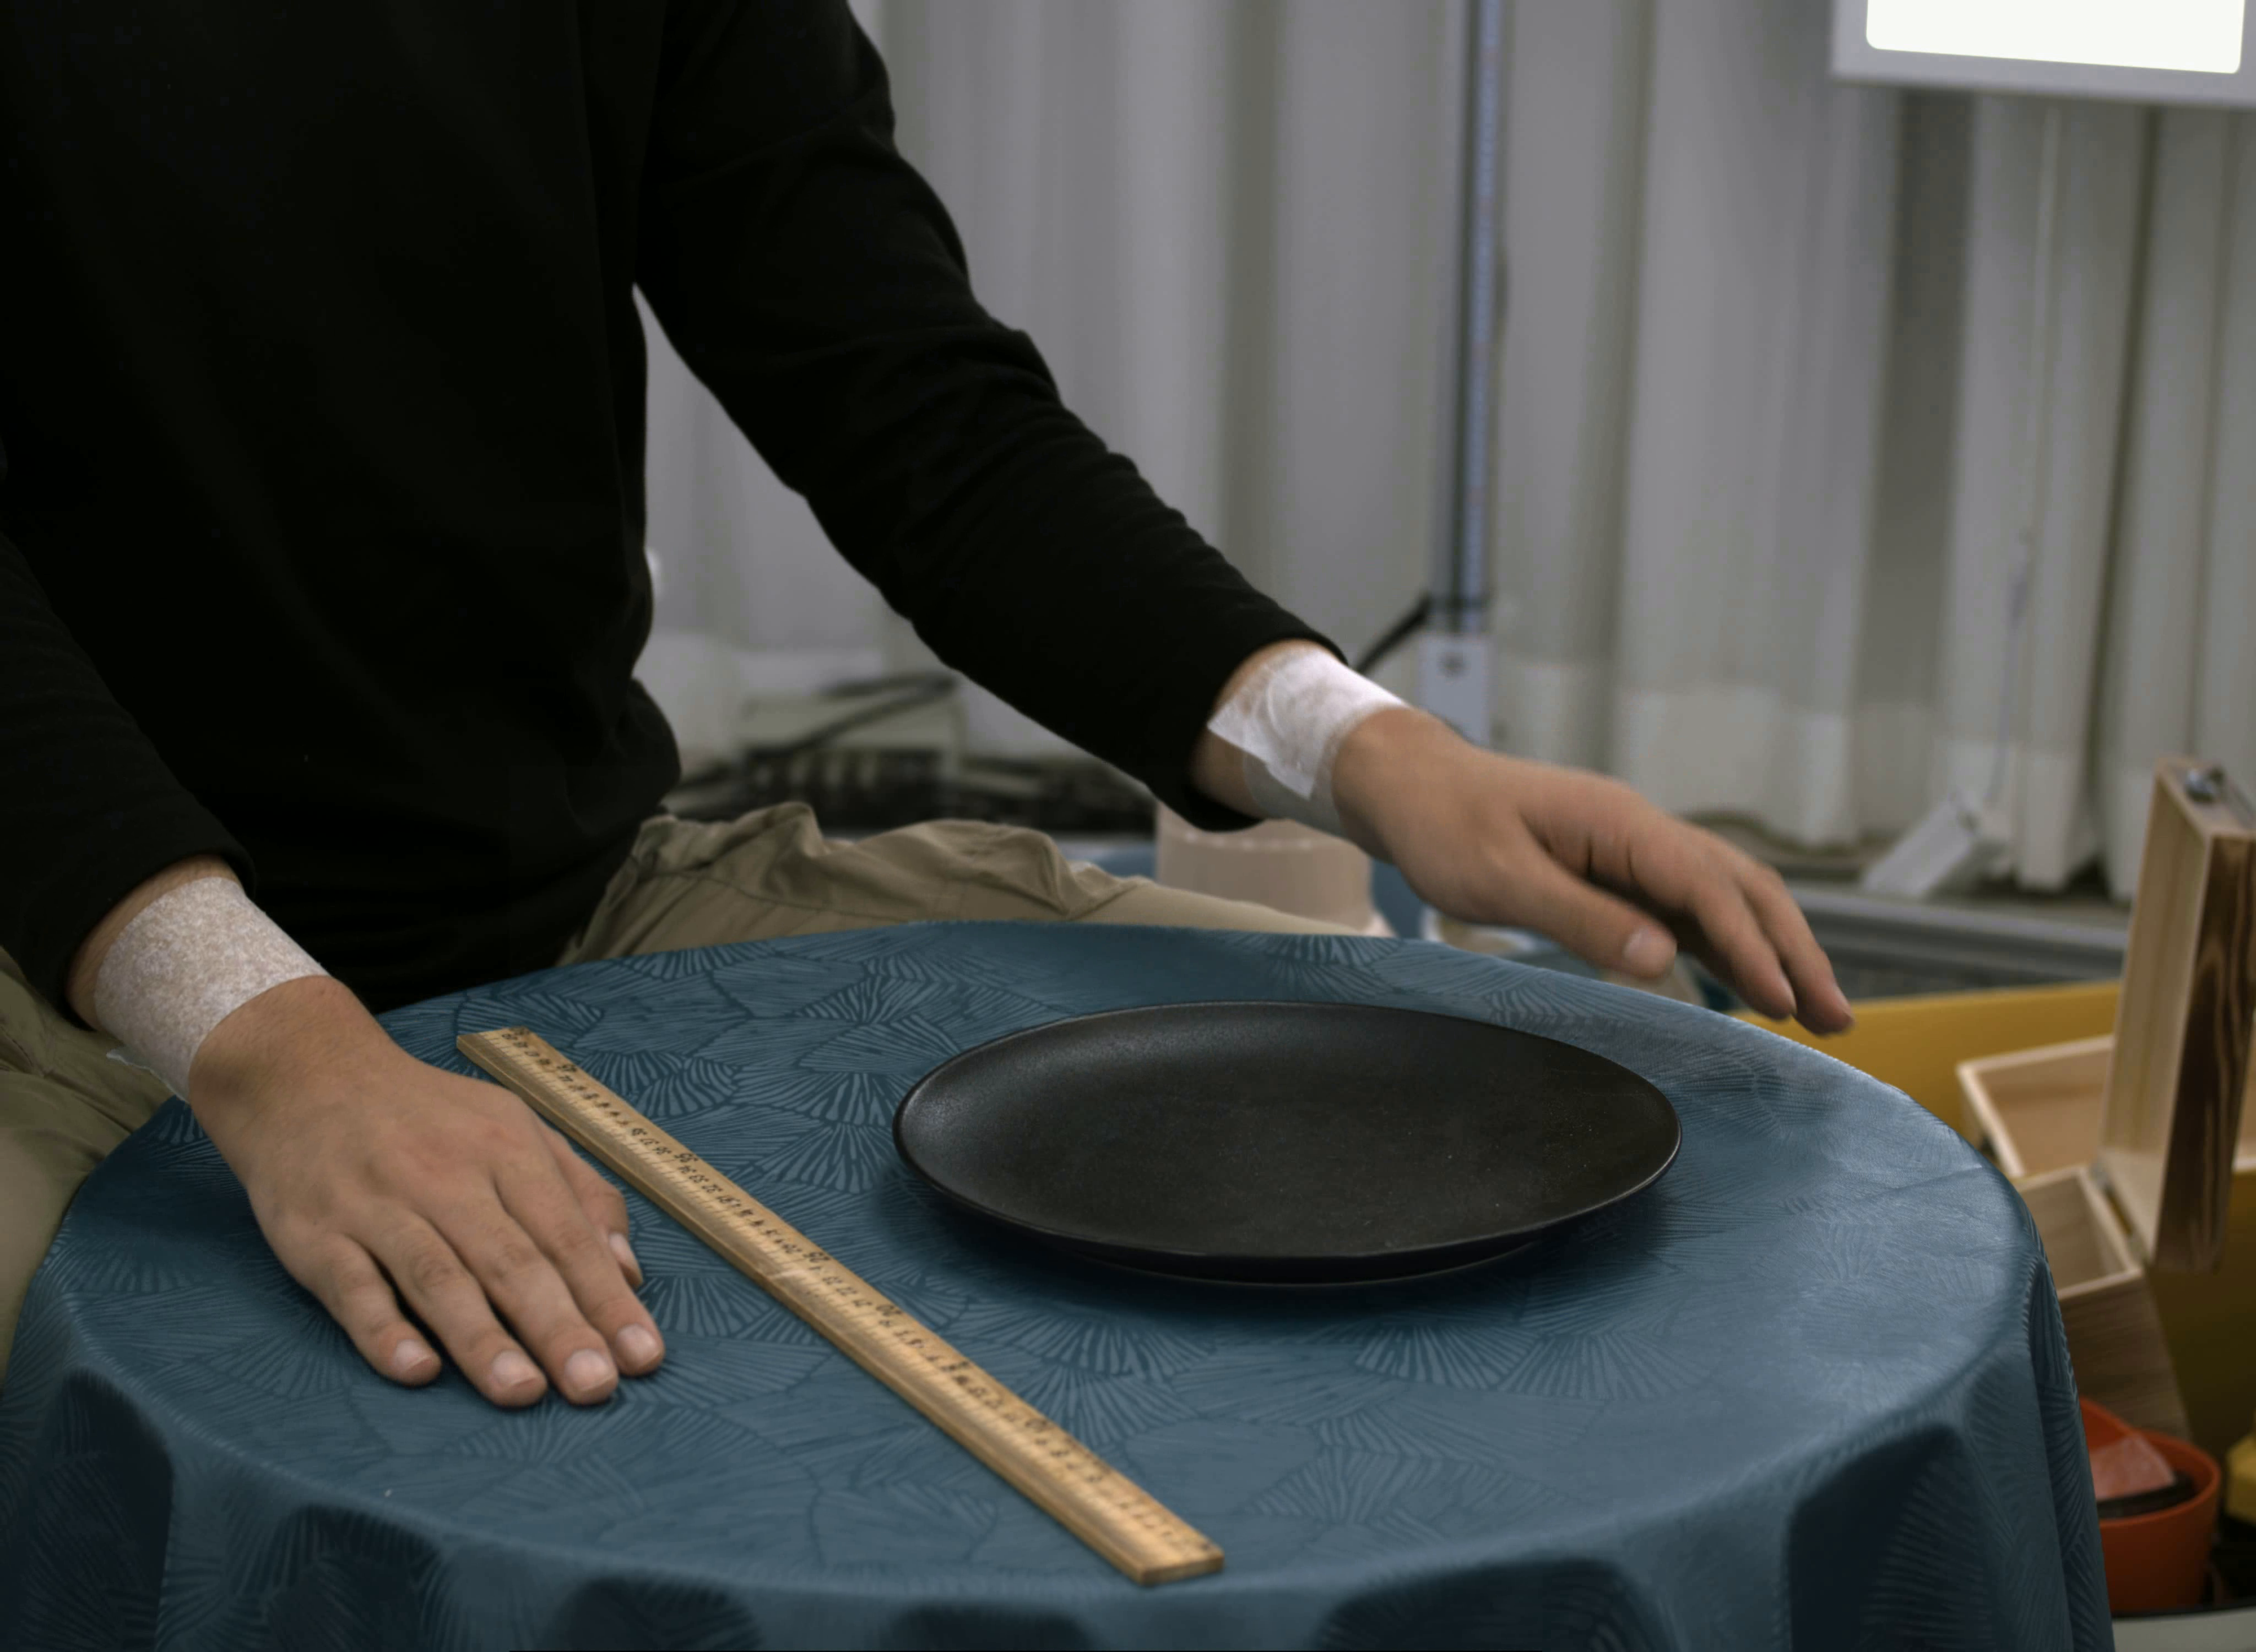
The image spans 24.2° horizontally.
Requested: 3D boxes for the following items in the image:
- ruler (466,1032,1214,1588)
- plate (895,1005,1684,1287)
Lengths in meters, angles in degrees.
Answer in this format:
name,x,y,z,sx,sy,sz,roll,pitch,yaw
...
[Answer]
name,x,y,z,sx,sy,sz,roll,pitch,yaw
ruler,-0.098,0.130,1.544,0.027,0.006,0.494,-6,16,-26
plate,0.050,0.100,1.623,0.243,0.023,0.243,0,15,0
